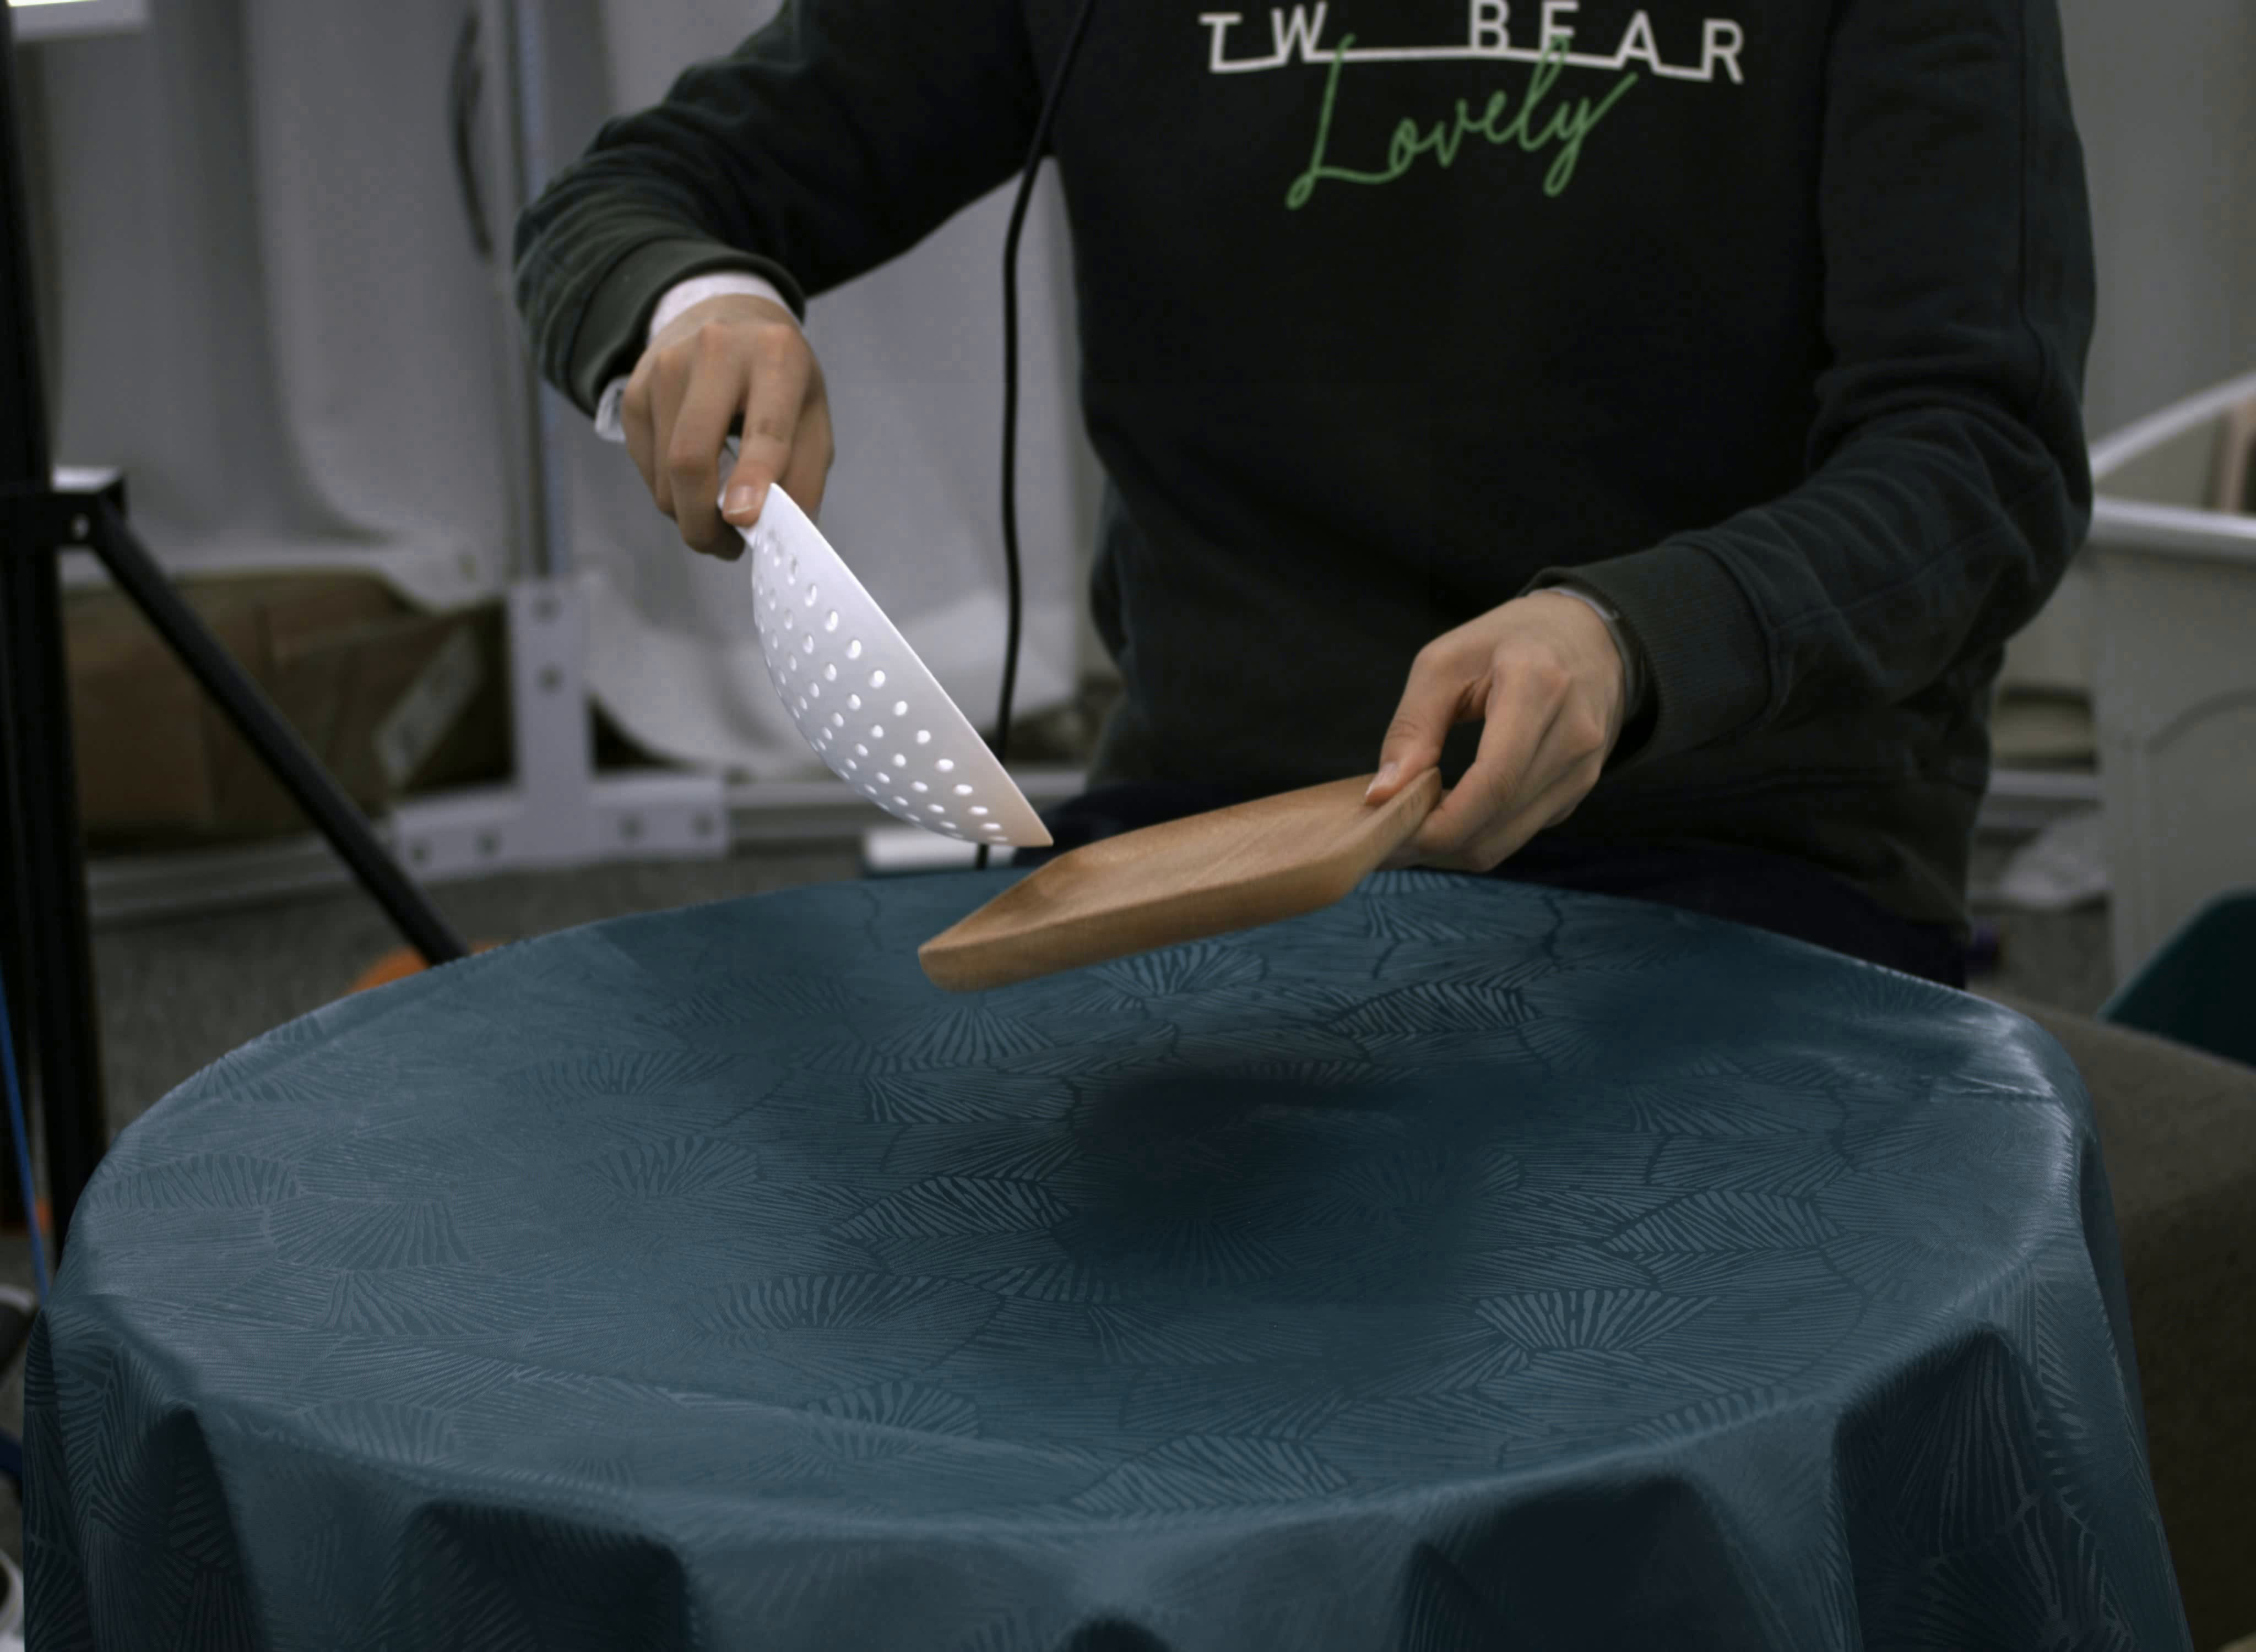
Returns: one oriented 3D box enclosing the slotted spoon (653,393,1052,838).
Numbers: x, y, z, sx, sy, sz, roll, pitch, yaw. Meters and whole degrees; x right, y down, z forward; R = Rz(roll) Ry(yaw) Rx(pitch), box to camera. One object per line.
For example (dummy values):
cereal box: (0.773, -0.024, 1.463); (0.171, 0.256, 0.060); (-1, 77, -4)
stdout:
slotted spoon: (-0.102, -0.083, 1.692); (0.045, 0.134, 0.355); (-35, 25, 1)

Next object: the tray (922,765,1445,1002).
tray: (0.021, 0.016, 1.570); (0.131, 0.023, 0.248); (-11, 4, 12)
